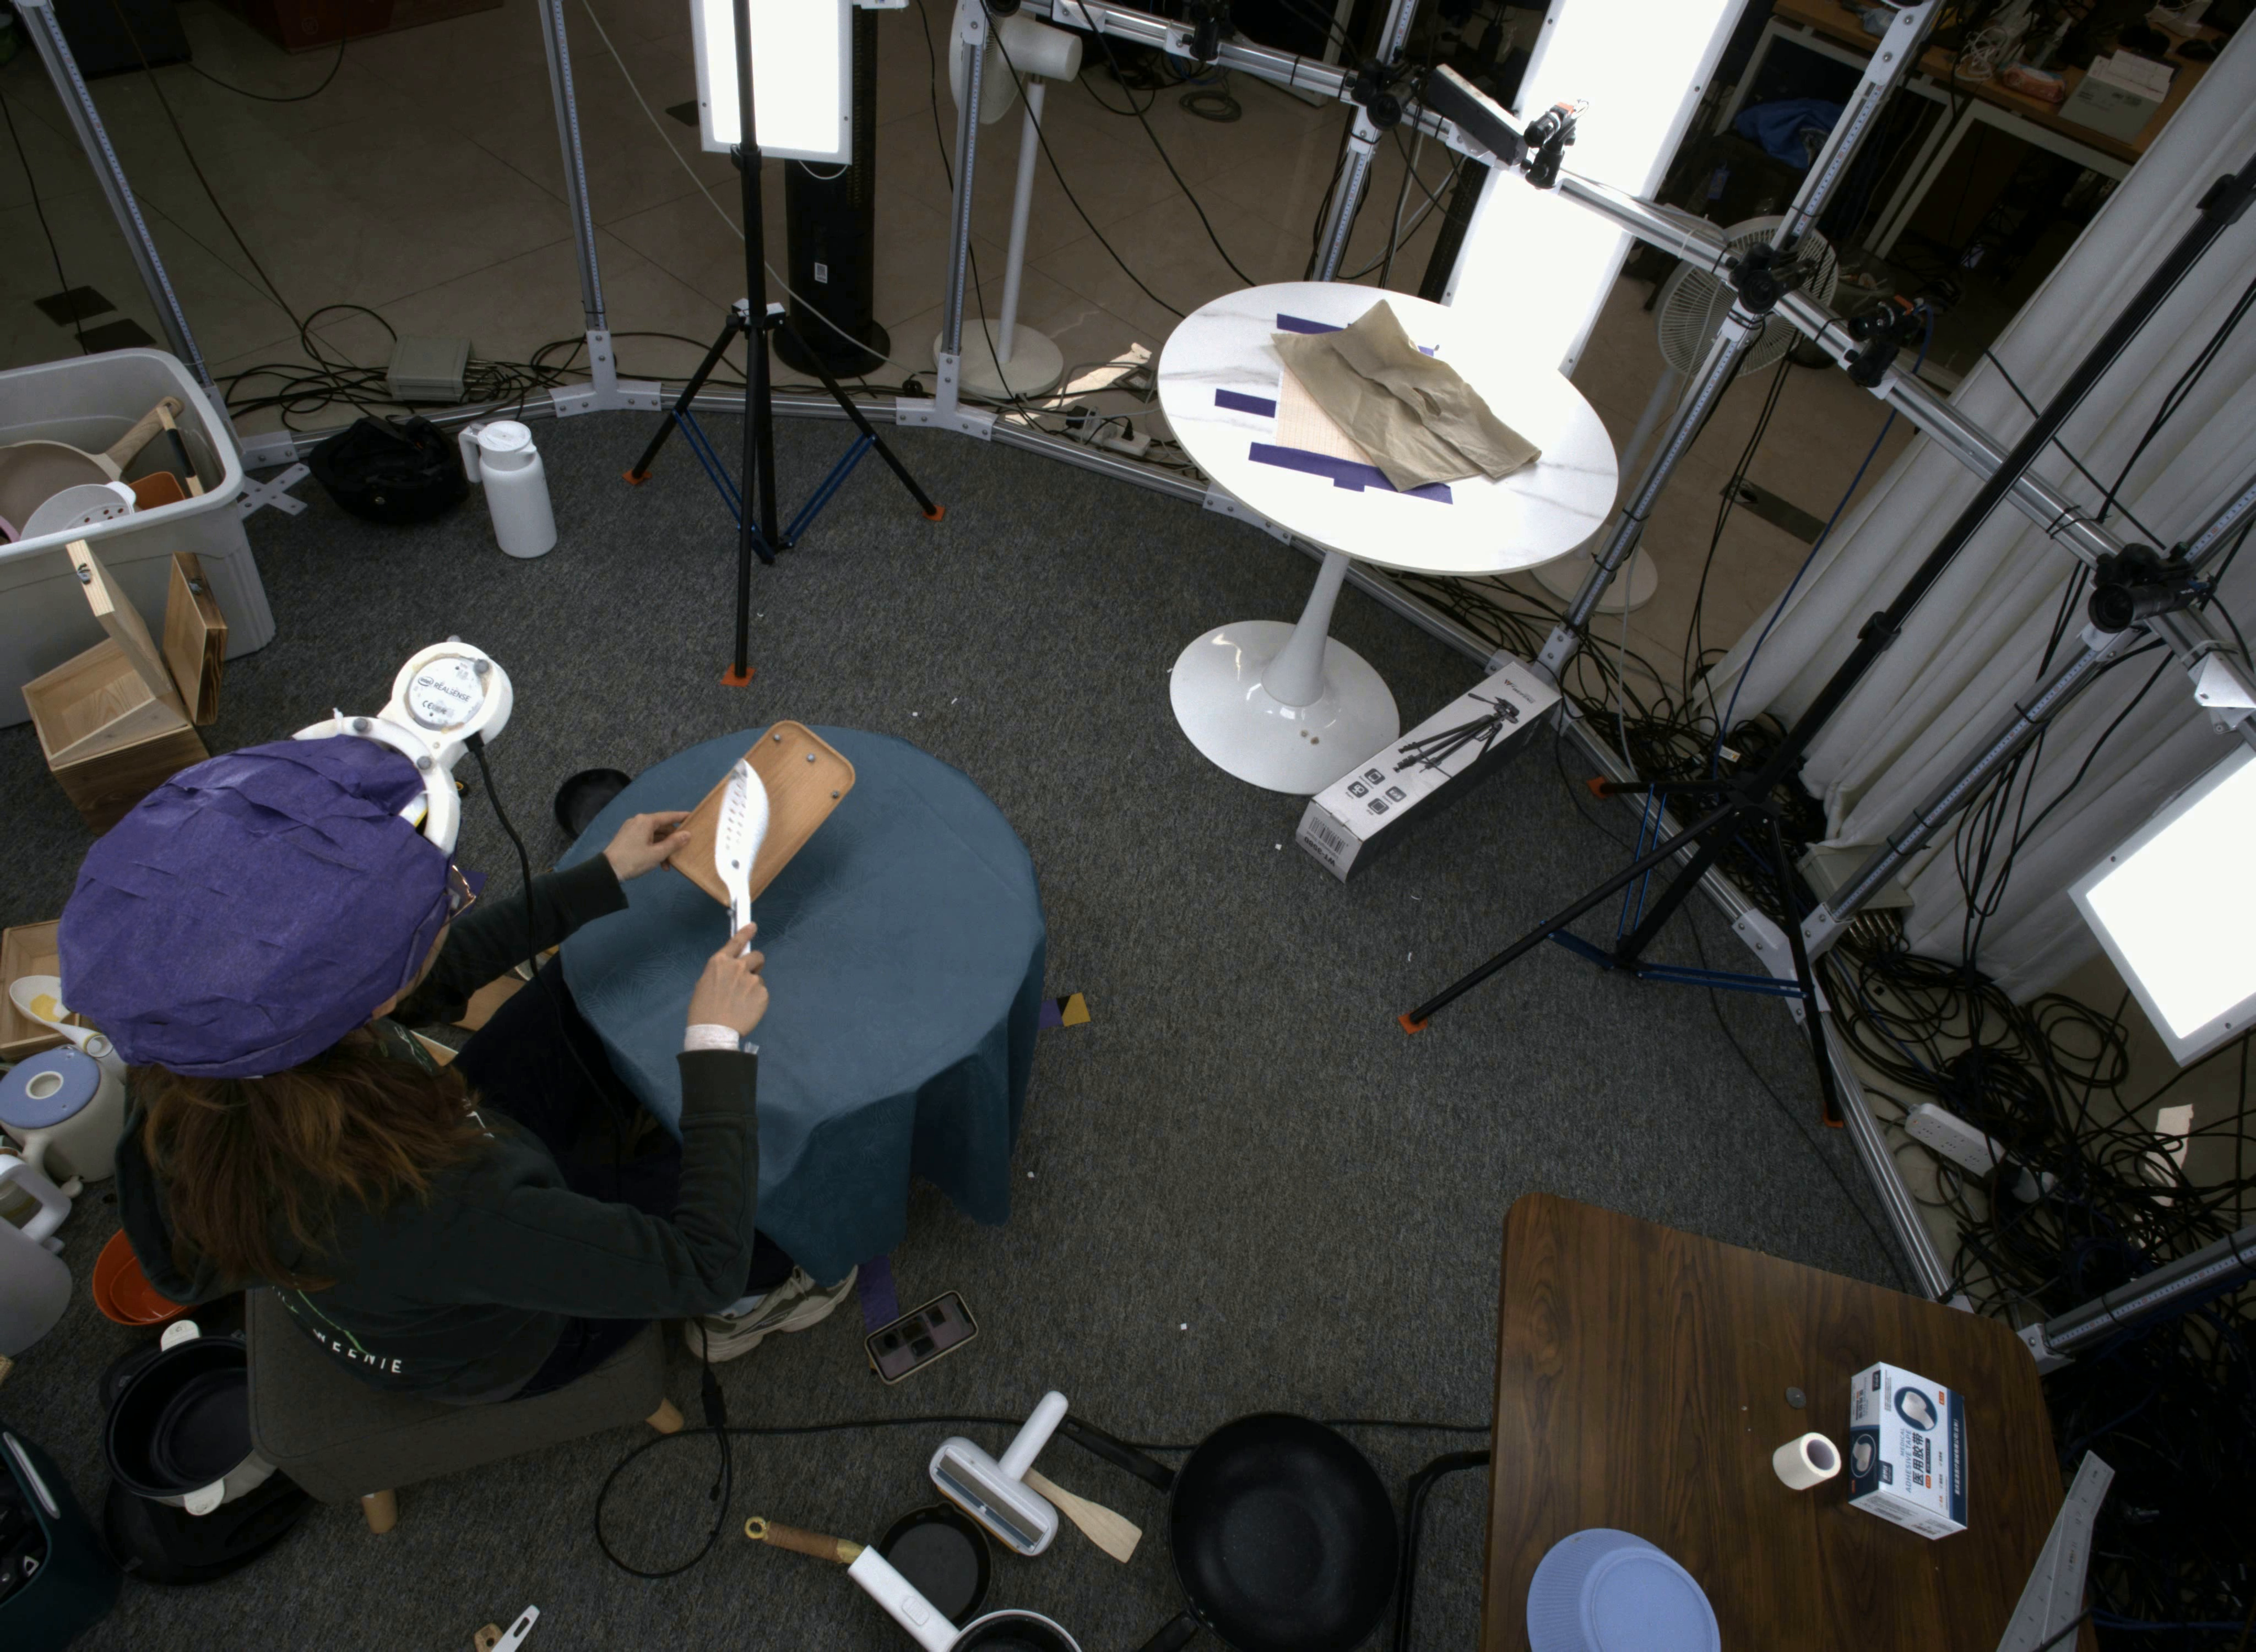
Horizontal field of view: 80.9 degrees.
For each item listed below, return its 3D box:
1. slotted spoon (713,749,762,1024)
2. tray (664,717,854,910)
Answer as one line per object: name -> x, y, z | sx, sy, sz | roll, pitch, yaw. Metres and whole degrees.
slotted spoon -> -0.427, 0.061, 1.397 | 0.046, 0.137, 0.341 | 12, 44, -23
tray -> -0.453, -0.018, 1.599 | 0.131, 0.023, 0.250 | 39, 61, -7
